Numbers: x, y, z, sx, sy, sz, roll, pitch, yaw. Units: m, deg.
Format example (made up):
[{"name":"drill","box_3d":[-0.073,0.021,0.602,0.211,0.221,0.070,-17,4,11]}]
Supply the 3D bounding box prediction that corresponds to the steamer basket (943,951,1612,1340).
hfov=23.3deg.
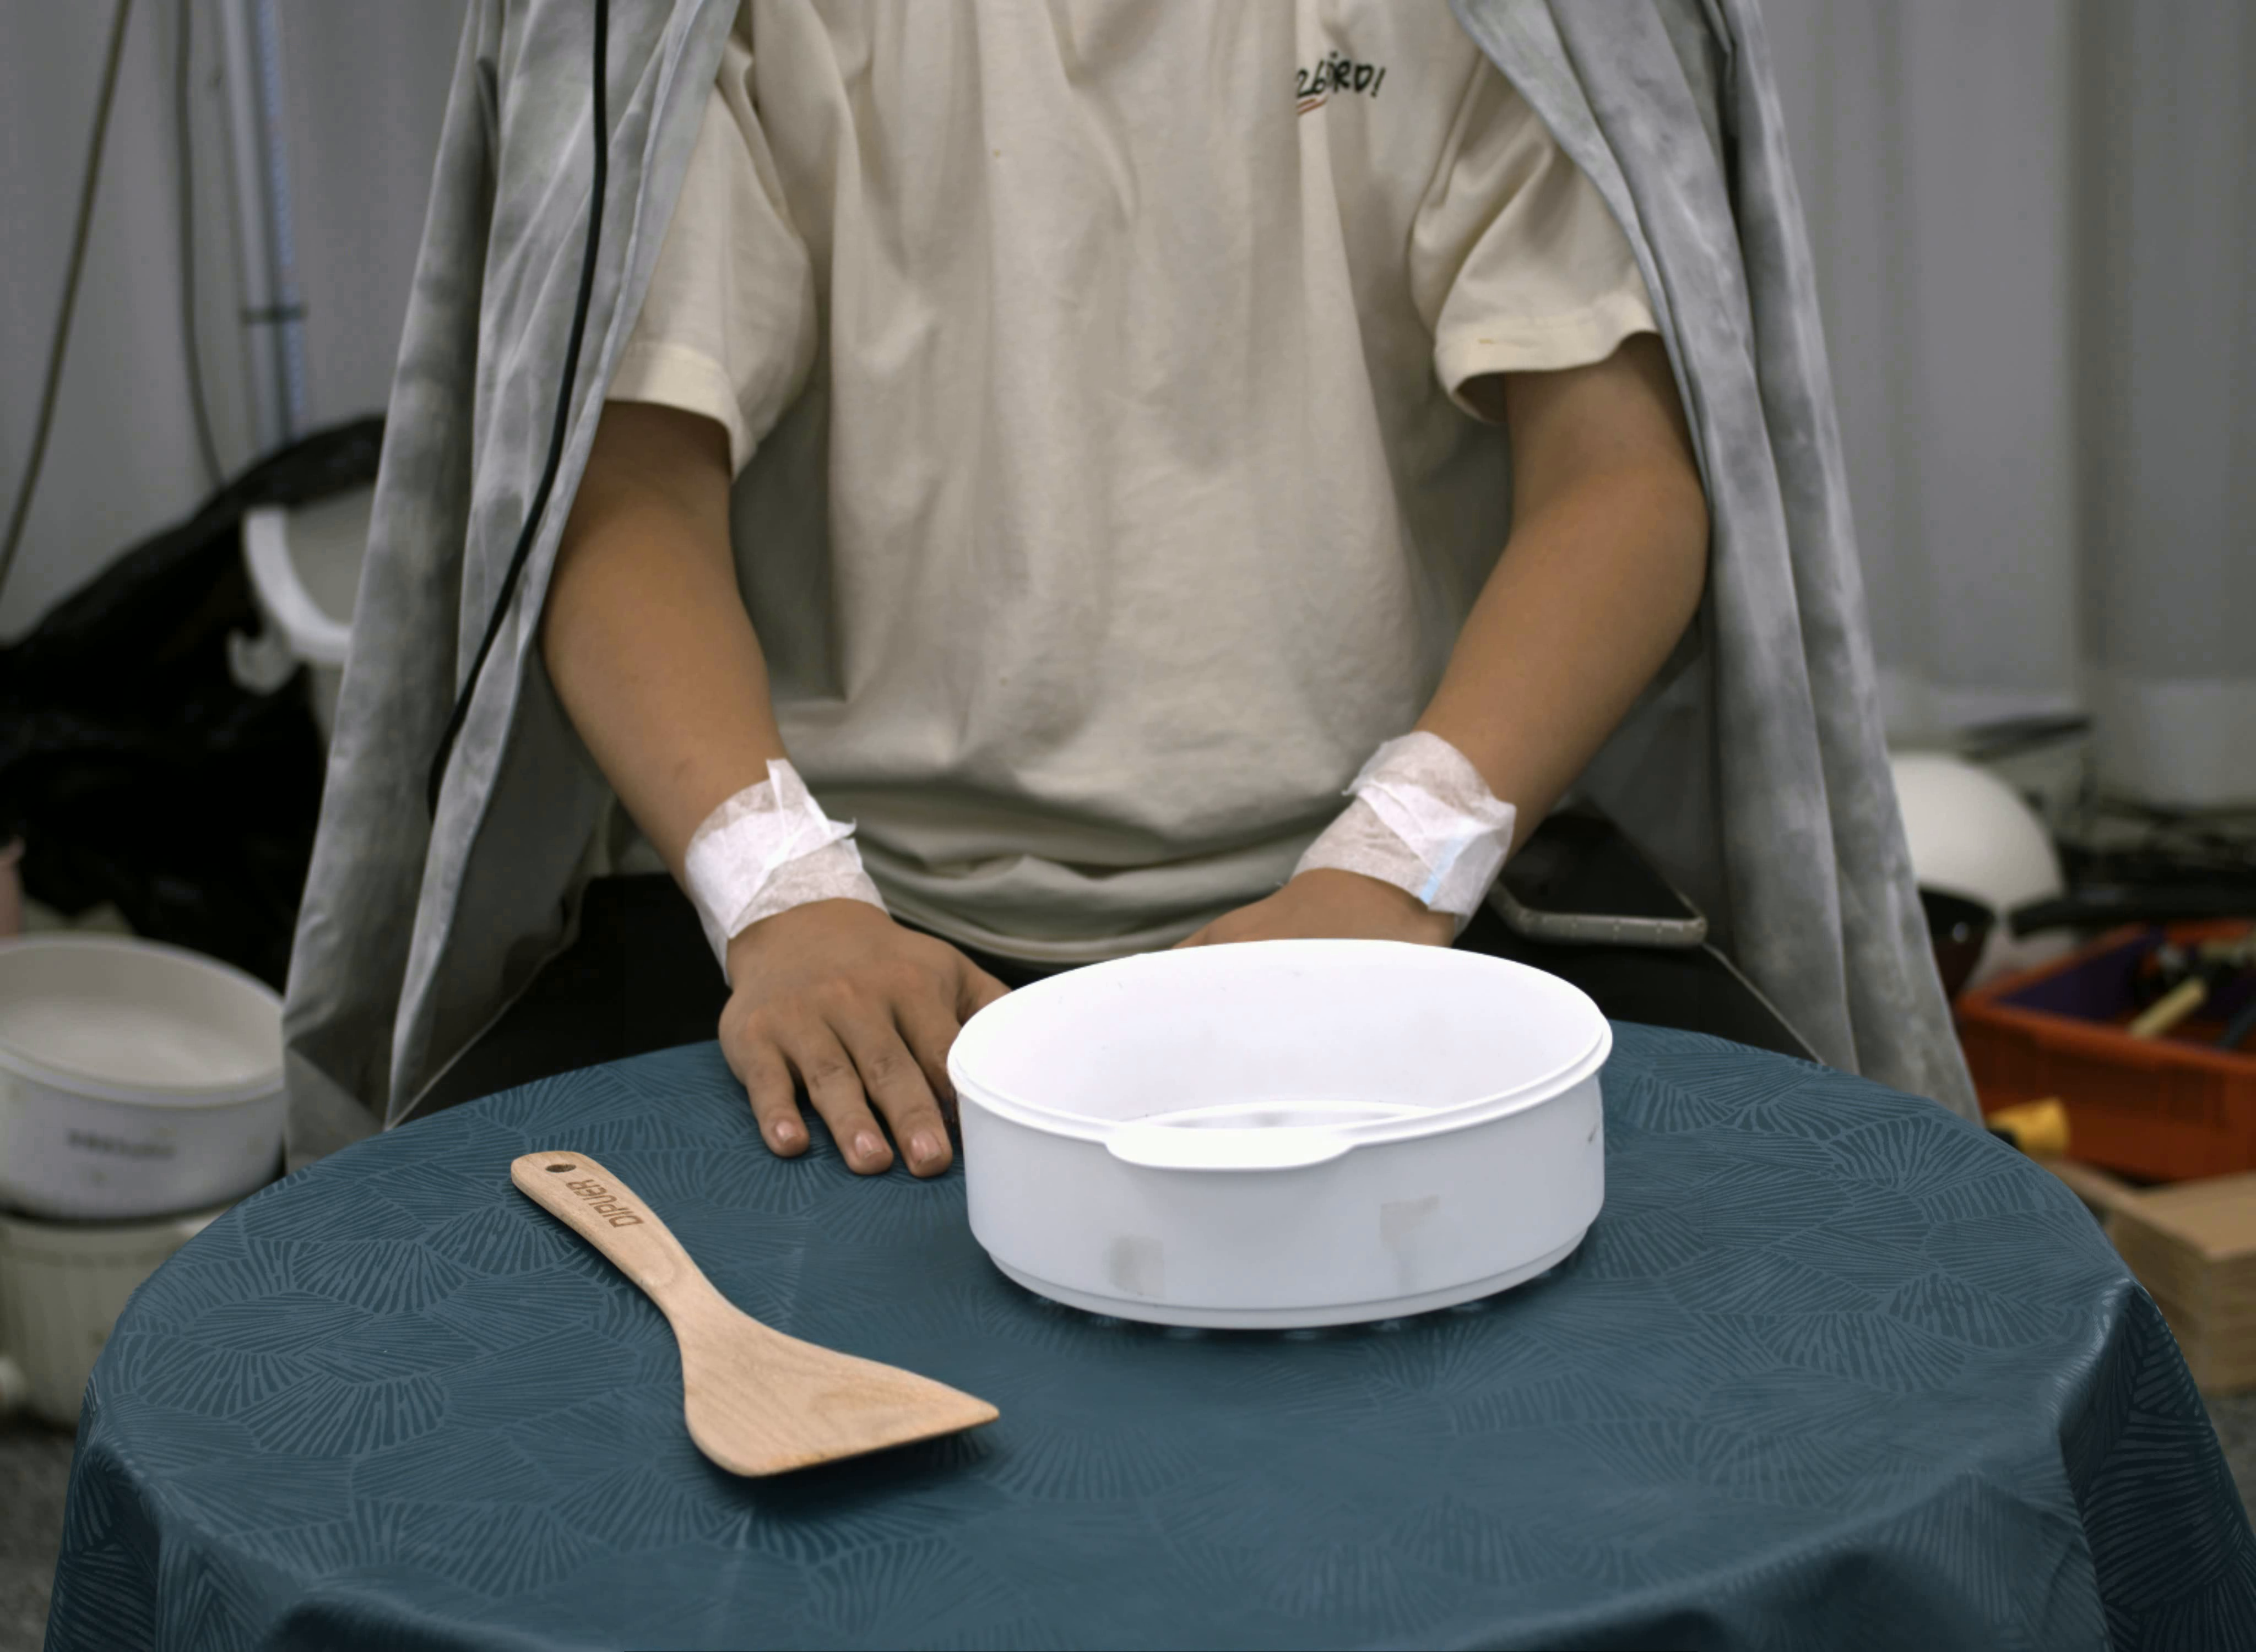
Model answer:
[{"name":"steamer basket","box_3d":[0.045,0.096,1.654,0.201,0.069,0.231,2,15,11]}]

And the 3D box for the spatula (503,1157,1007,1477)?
[{"name":"spatula","box_3d":[-0.126,0.140,1.616,0.079,0.016,0.330,-8,15,-22]}]
